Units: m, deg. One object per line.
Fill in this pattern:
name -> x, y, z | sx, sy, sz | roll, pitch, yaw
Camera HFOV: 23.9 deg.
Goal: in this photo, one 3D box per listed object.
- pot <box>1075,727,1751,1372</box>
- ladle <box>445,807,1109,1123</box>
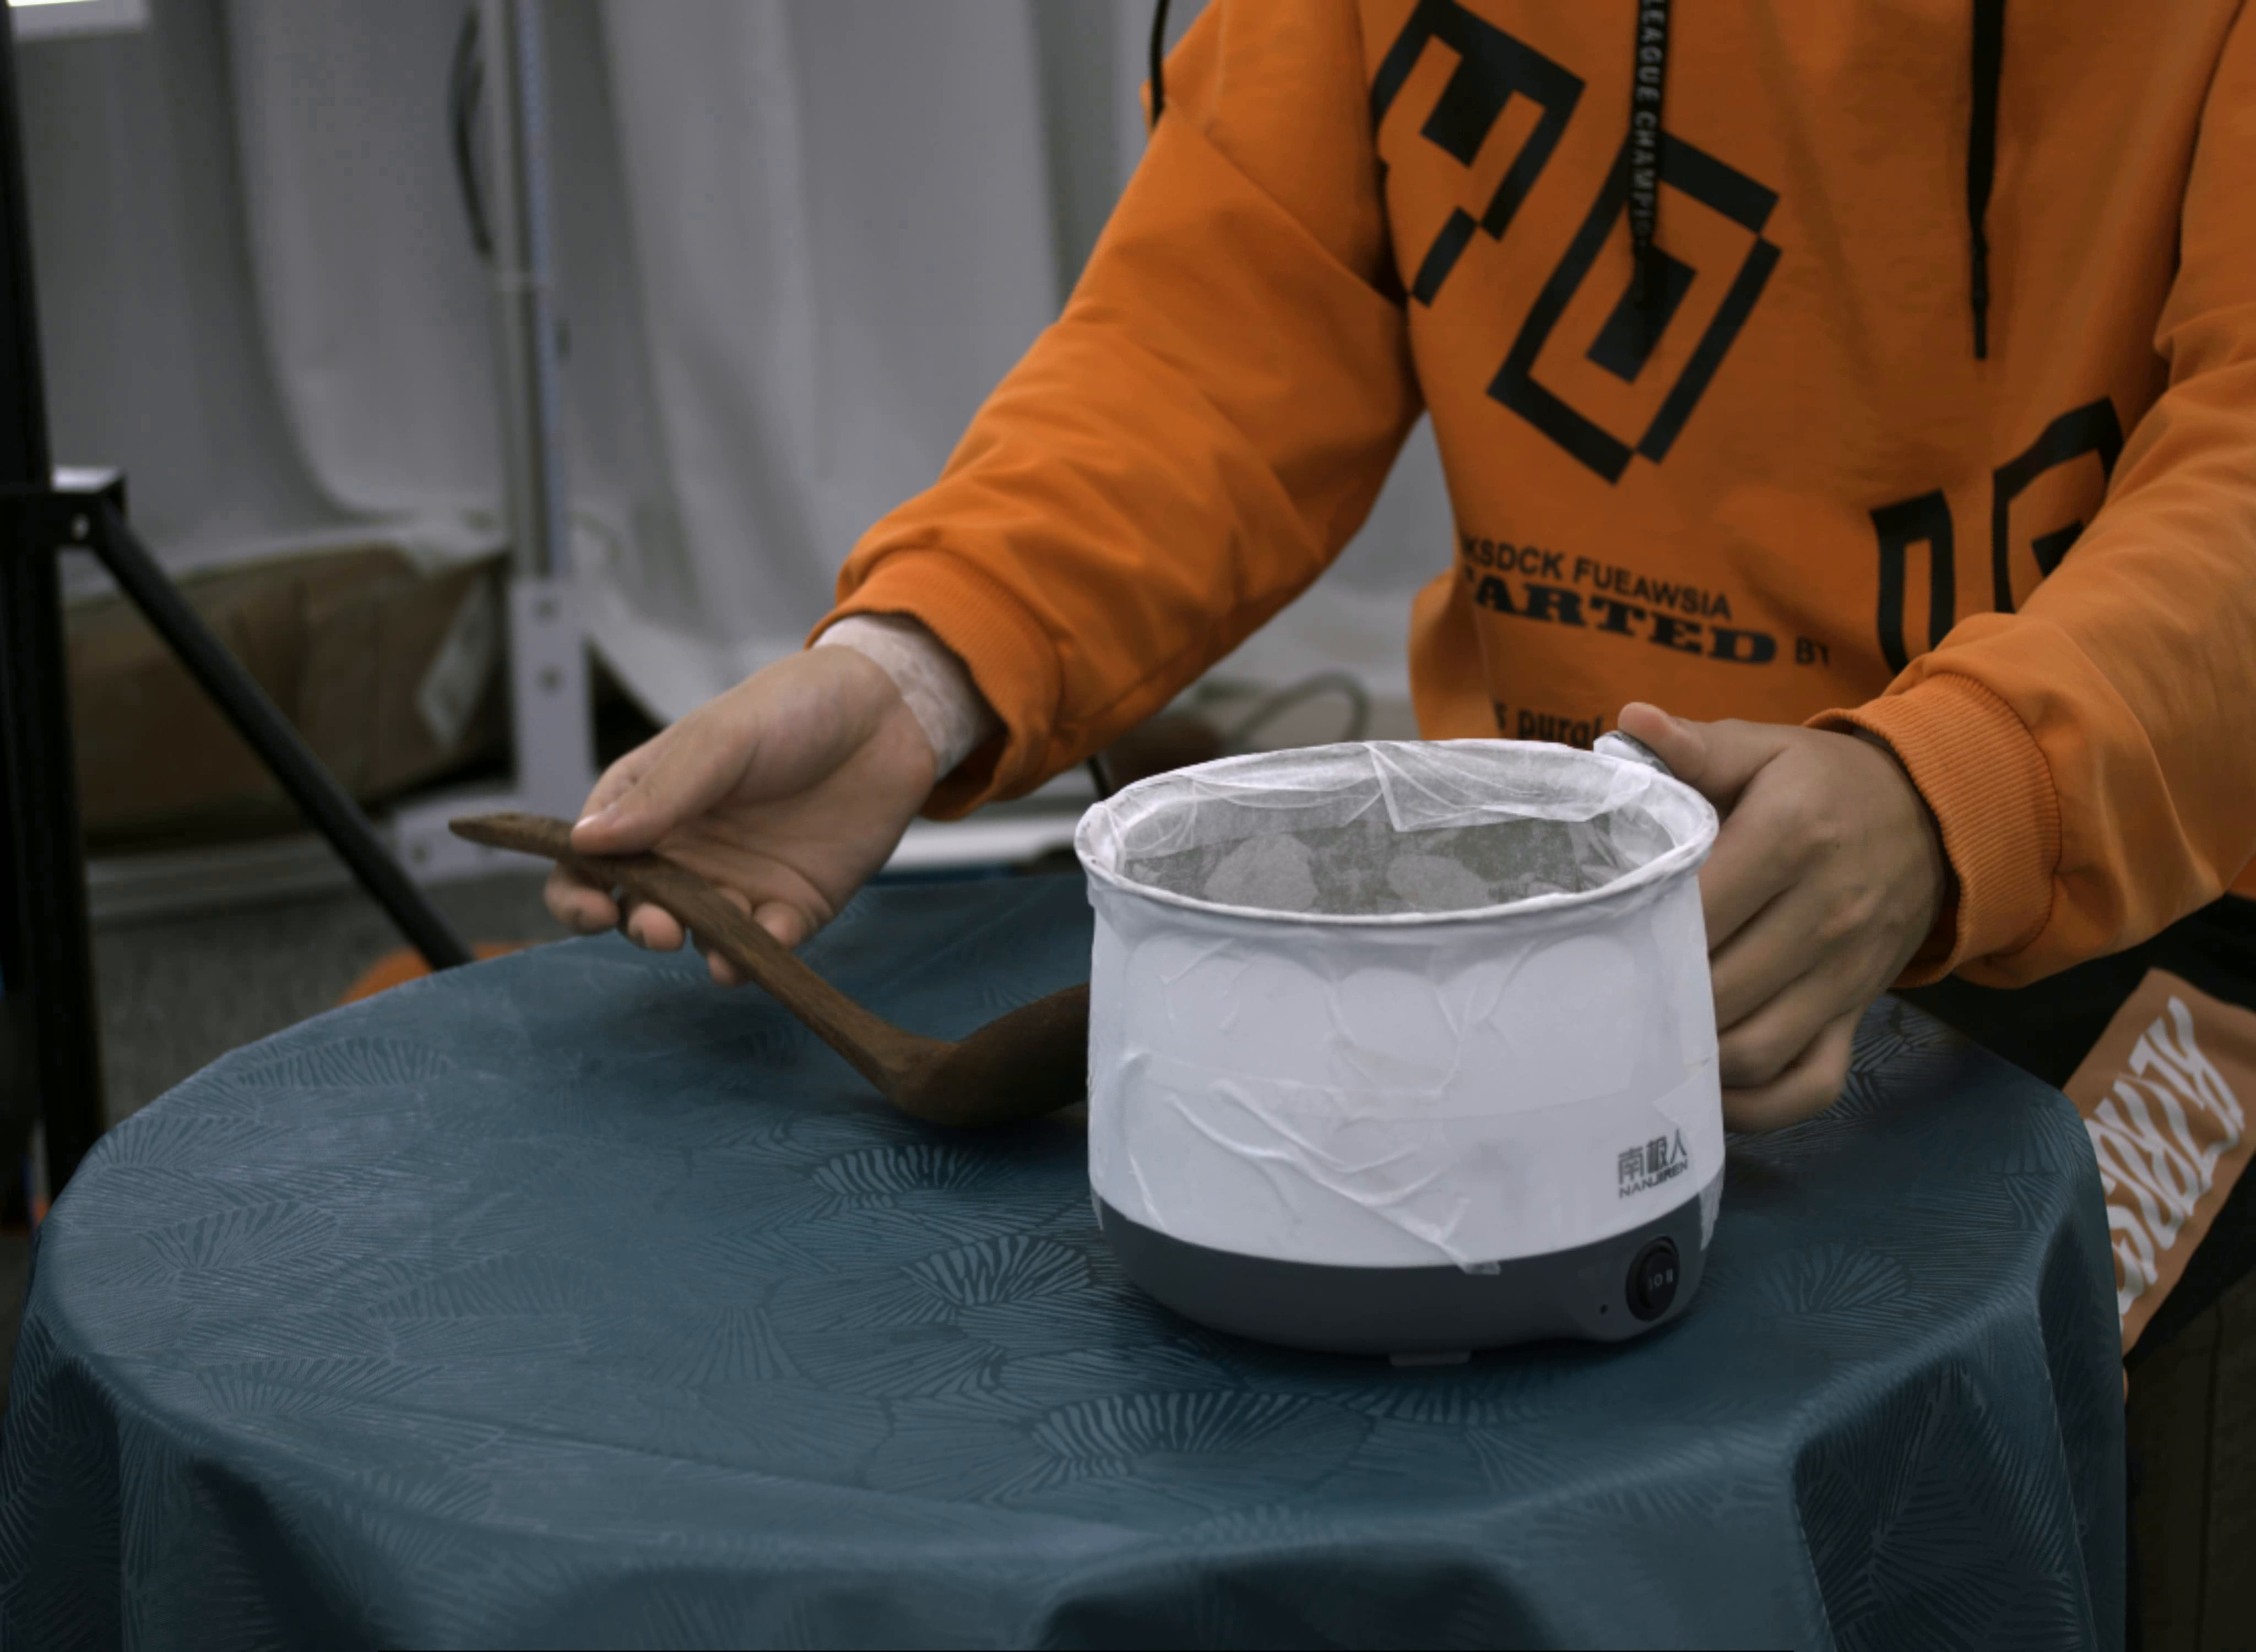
pot -> 0.094, 0.054, 1.480 | 0.183, 0.136, 0.228 | 12, 21, 41
ladle -> -0.111, 0.022, 1.670 | 0.280, 0.071, 0.074 | 30, 21, 36
